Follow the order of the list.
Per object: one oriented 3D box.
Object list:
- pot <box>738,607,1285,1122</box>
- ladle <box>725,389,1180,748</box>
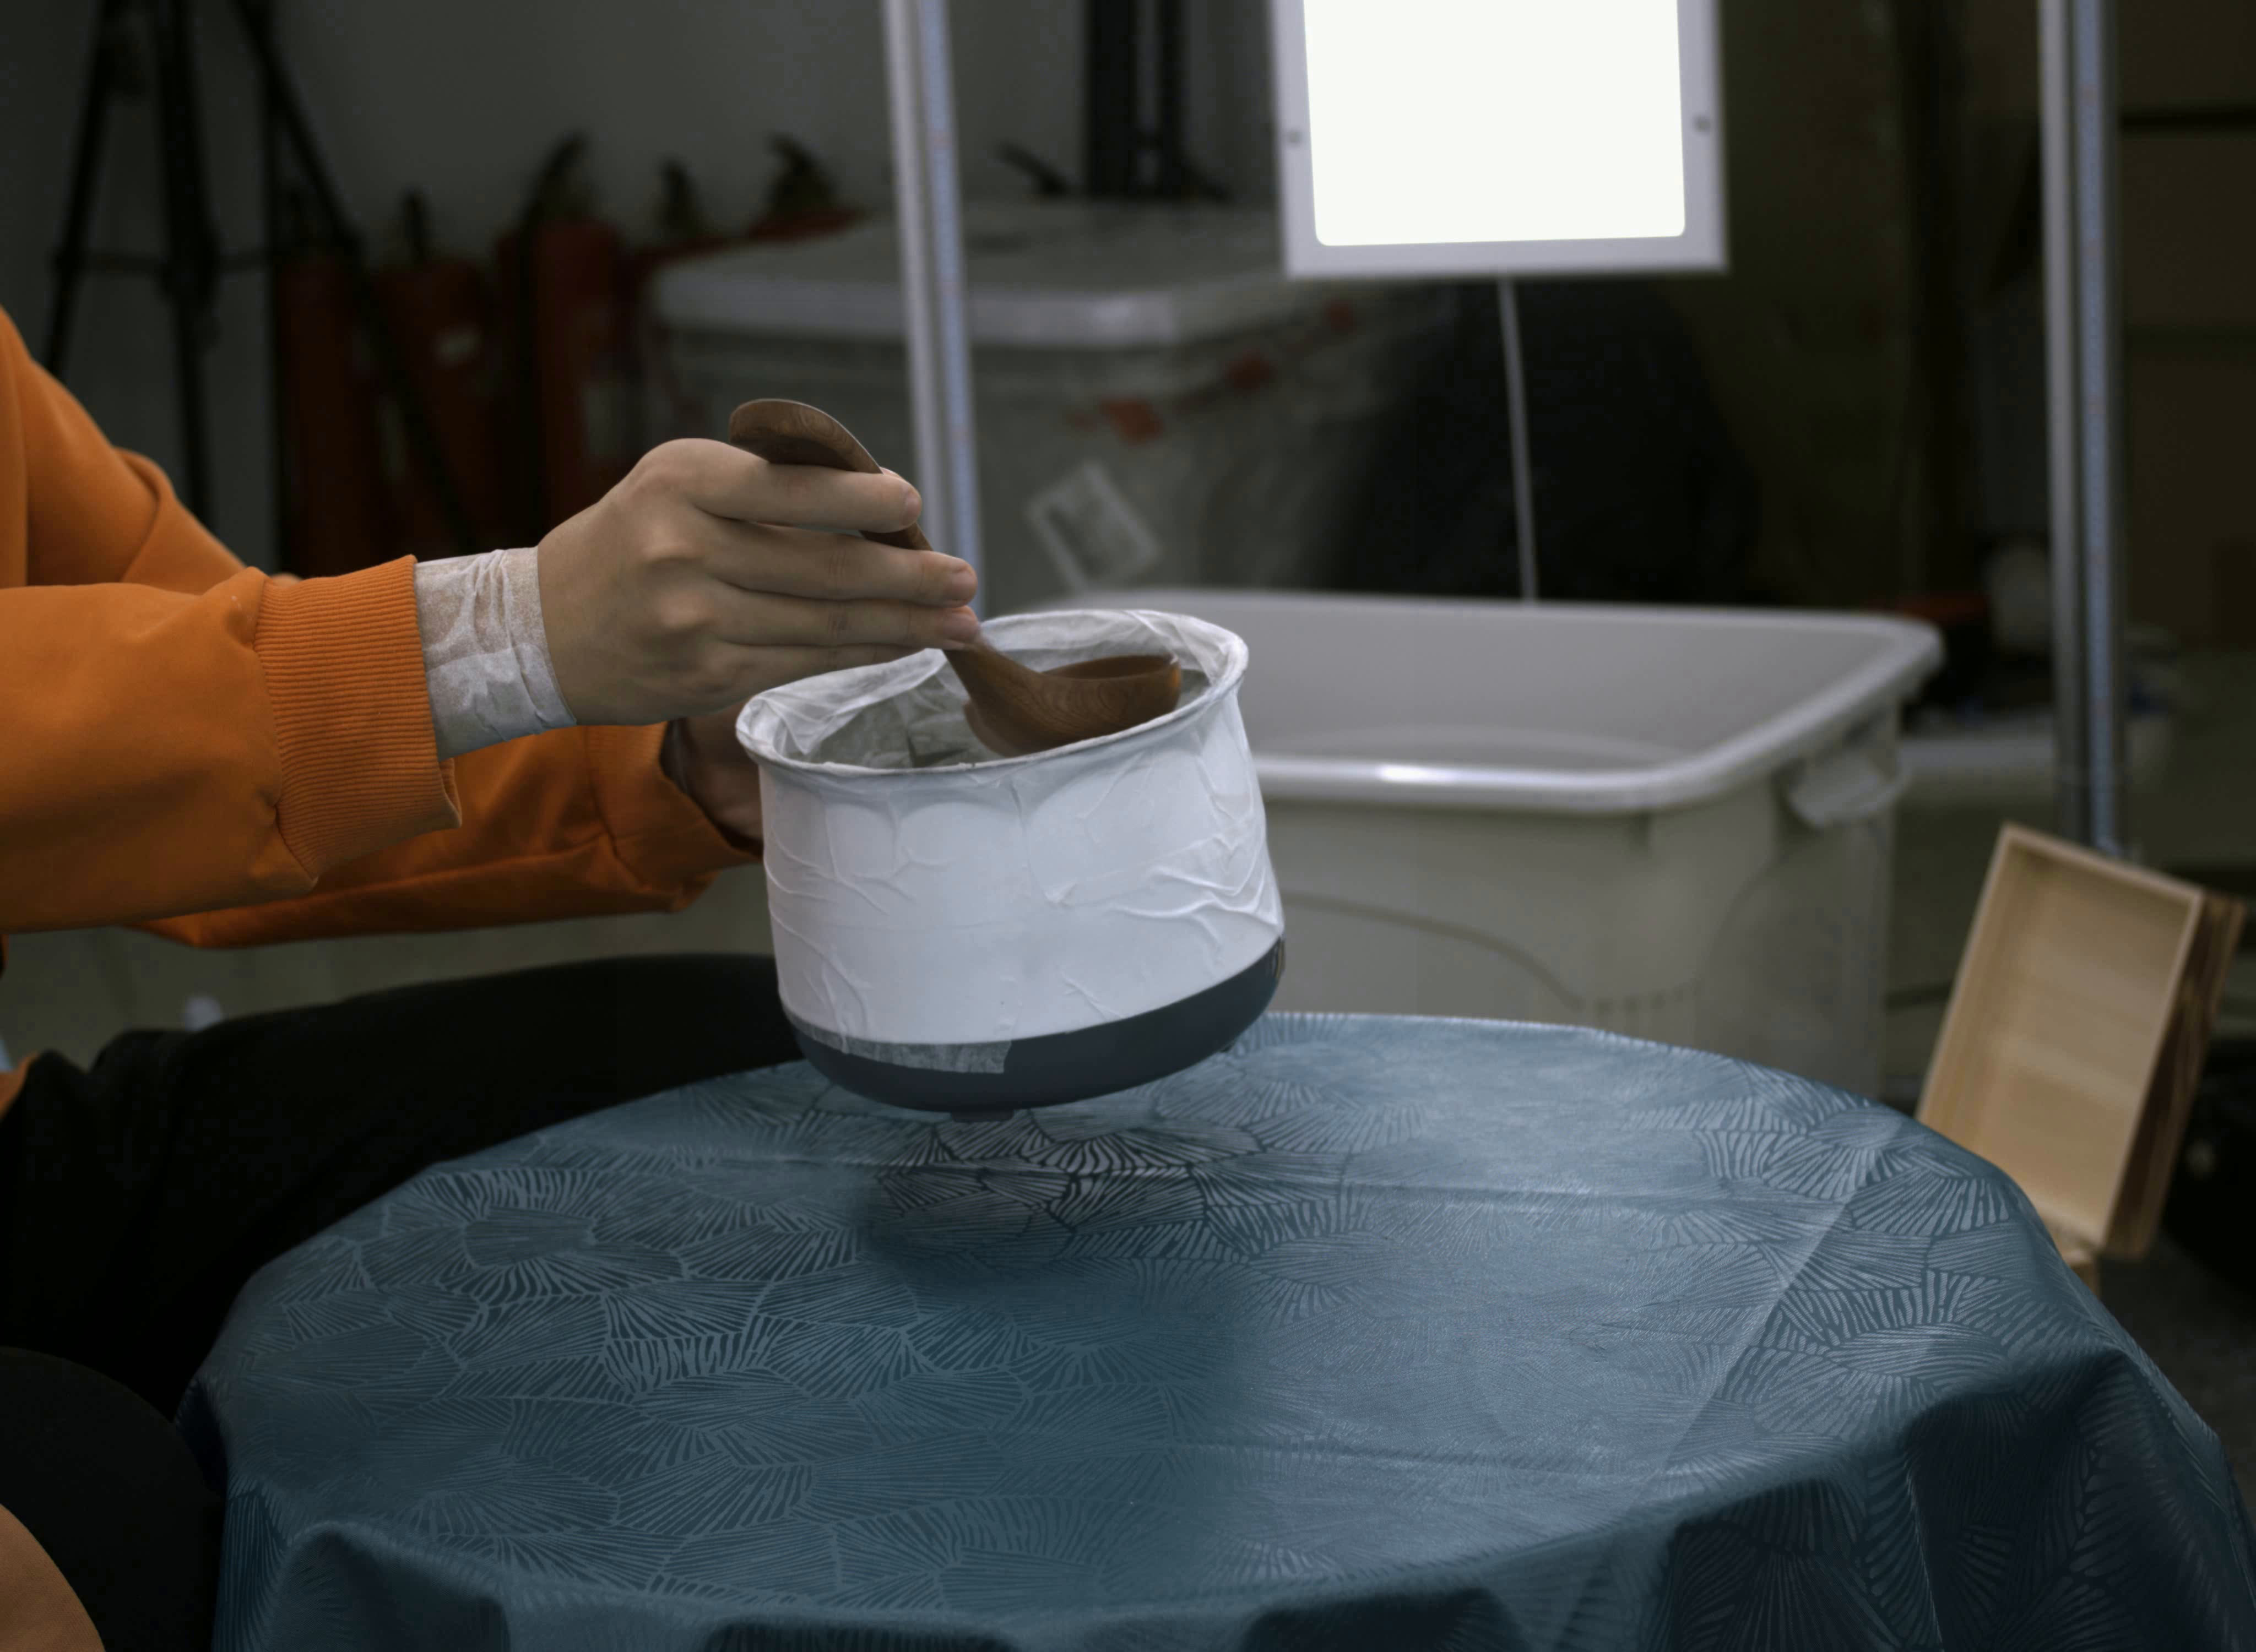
[{"bbox_3d":[-0.051,0.007,1.914,0.175,0.137,0.238,-17,19,-25],"label":"pot"},{"bbox_3d":[-0.060,-0.089,1.777,0.078,0.065,0.257,-13,-34,23],"label":"ladle"}]
